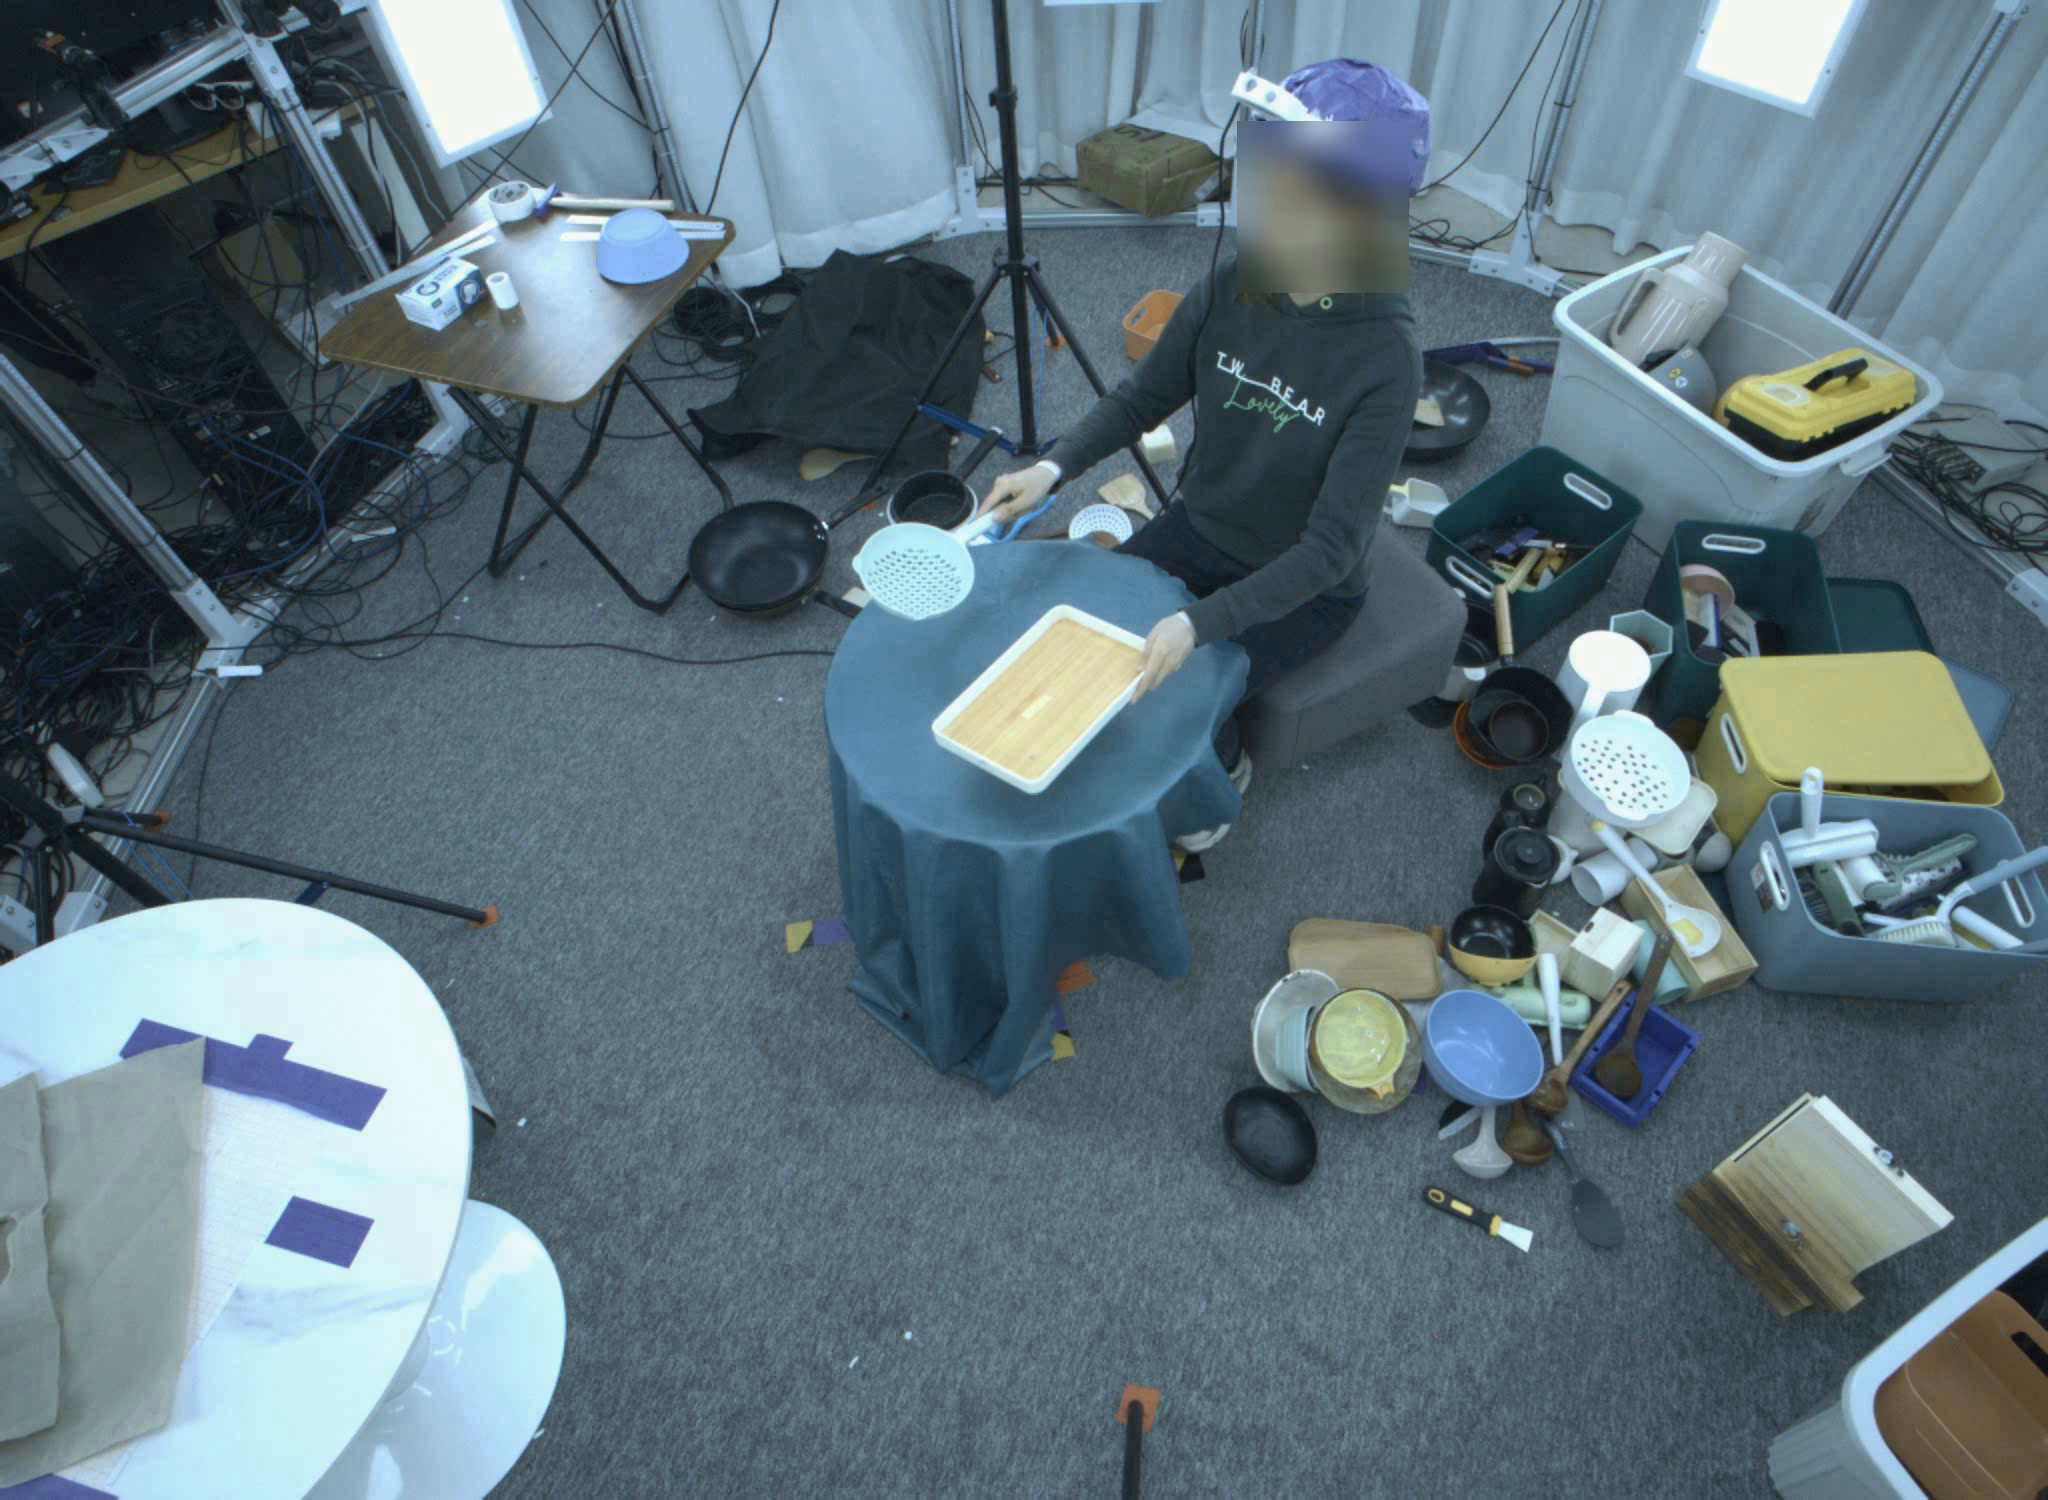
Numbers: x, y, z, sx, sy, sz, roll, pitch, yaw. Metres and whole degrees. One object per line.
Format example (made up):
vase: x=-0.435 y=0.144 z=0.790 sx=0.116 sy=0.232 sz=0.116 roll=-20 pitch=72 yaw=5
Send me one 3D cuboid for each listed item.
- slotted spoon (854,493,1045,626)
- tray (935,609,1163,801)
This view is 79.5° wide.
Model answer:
slotted spoon: x=-0.092 y=-0.306 z=1.837 sx=0.168 sy=0.075 sz=0.361 roll=43 pitch=67 yaw=11
tray: x=0.038 y=-0.069 z=1.707 sx=0.188 sy=0.028 sz=0.302 roll=29 pitch=59 yaw=27
